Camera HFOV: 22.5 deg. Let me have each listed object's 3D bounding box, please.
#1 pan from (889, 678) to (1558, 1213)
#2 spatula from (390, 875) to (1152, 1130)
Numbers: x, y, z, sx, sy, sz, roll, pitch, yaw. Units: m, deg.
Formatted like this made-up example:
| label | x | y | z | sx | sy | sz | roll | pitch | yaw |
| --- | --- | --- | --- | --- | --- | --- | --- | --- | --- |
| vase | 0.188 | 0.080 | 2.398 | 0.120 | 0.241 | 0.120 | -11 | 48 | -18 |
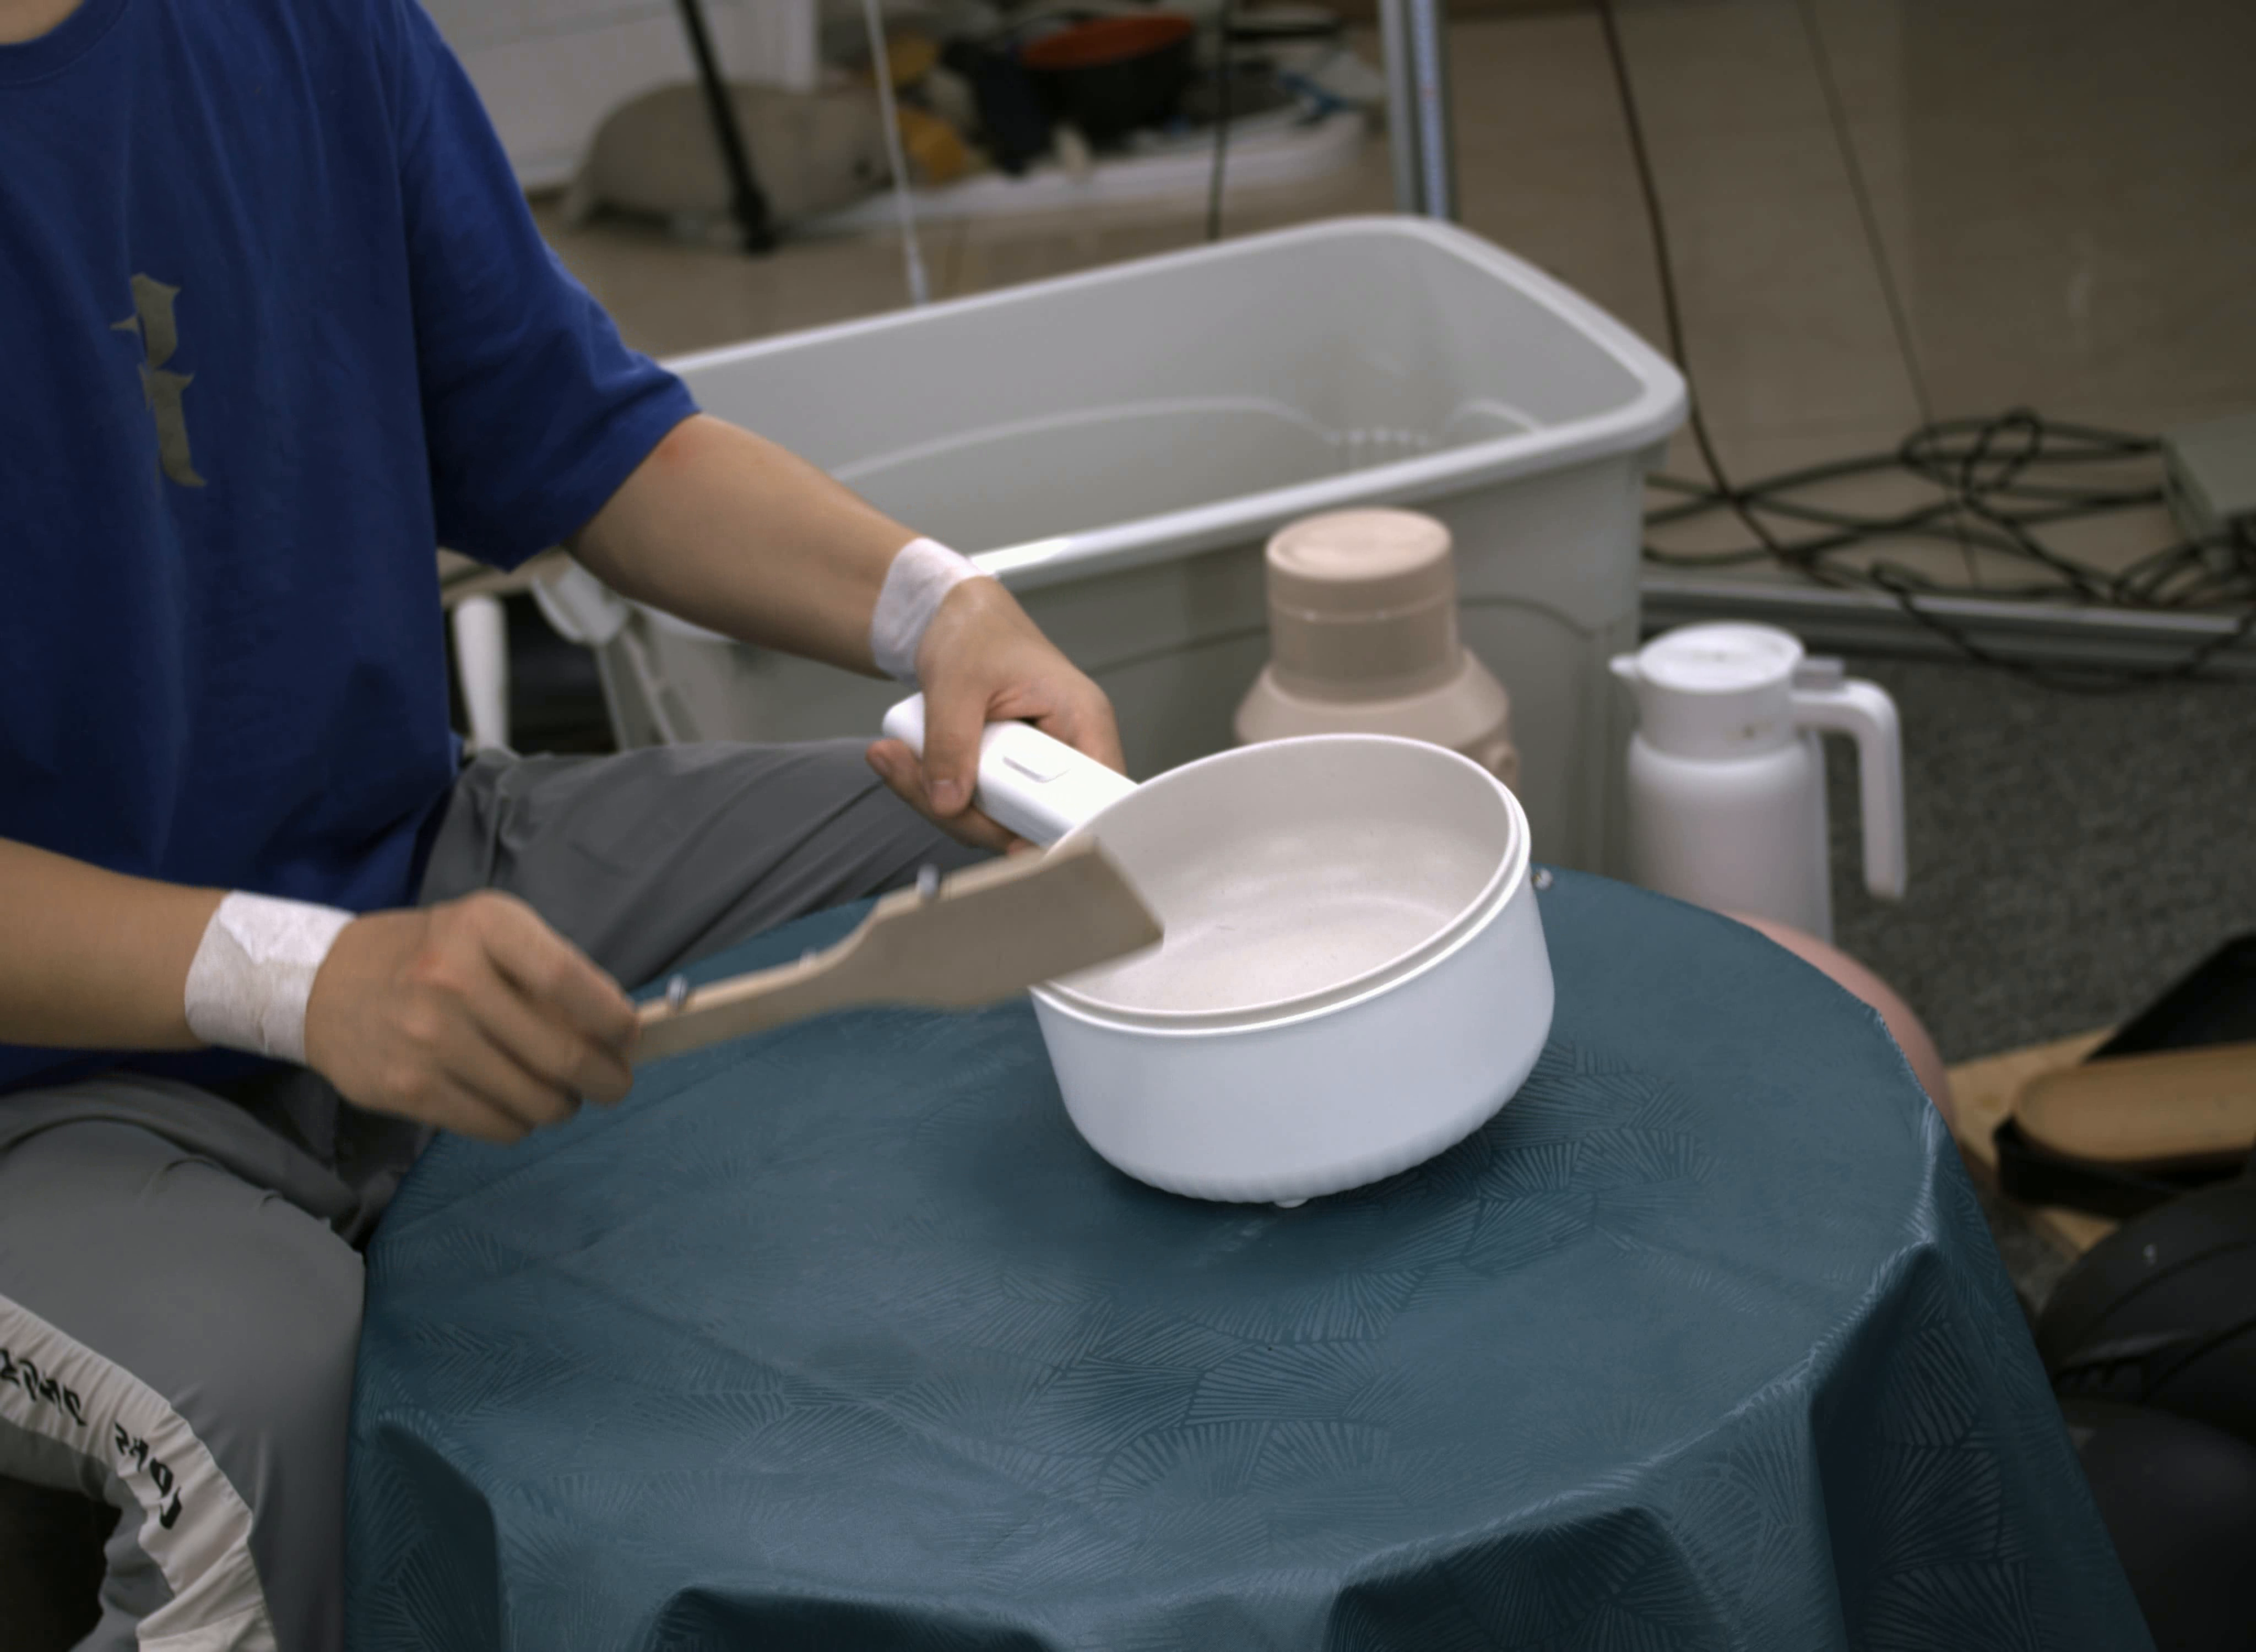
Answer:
| label | x | y | z | sx | sy | sz | roll | pitch | yaw |
| --- | --- | --- | --- | --- | --- | --- | --- | --- | --- |
| pan | 0.021 | 0.038 | 2.222 | 0.200 | 0.104 | 0.351 | -31 | 33 | -23 |
| spatula | -0.136 | 0.070 | 2.046 | 0.293 | 0.073 | 0.010 | -15 | 55 | 19 |
